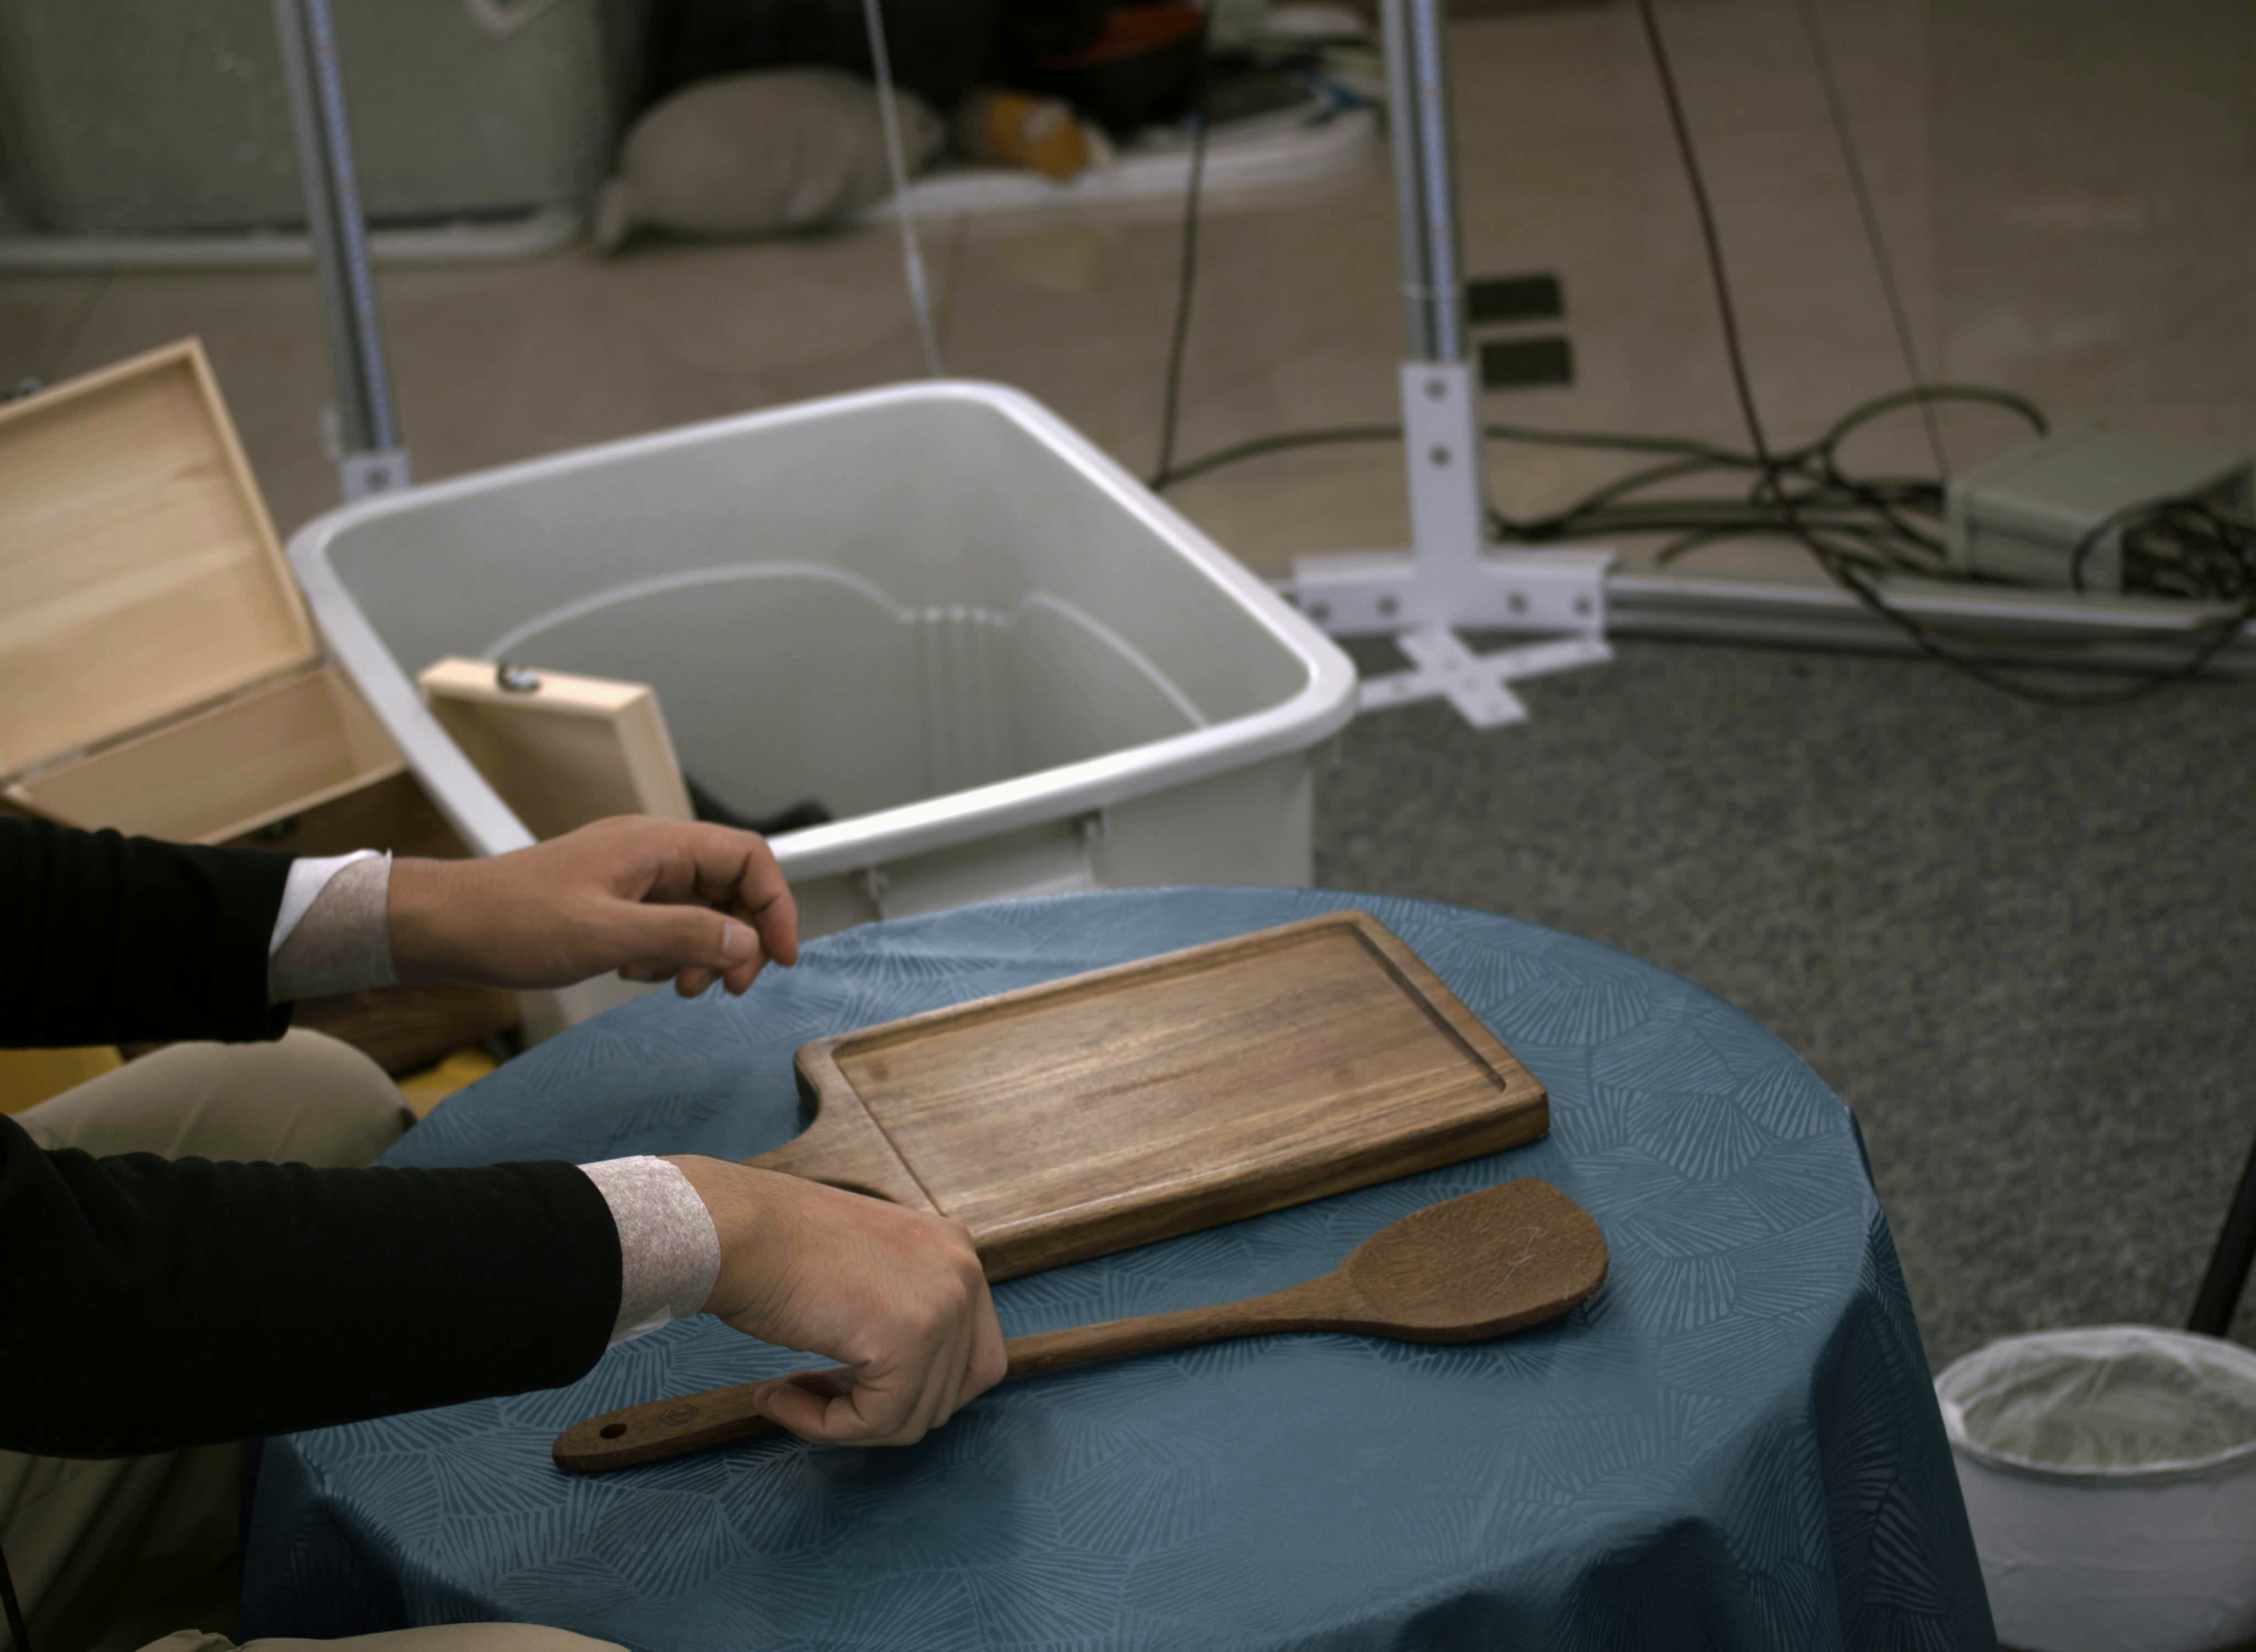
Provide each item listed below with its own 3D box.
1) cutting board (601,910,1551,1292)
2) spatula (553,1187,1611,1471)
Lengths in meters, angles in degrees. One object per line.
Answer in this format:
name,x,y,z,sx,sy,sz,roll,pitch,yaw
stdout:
cutting board,-0.034,0.114,2.186,0.351,0.023,0.198,-14,26,-15
spatula,-0.016,0.185,2.033,0.385,0.016,0.095,-10,23,-8
